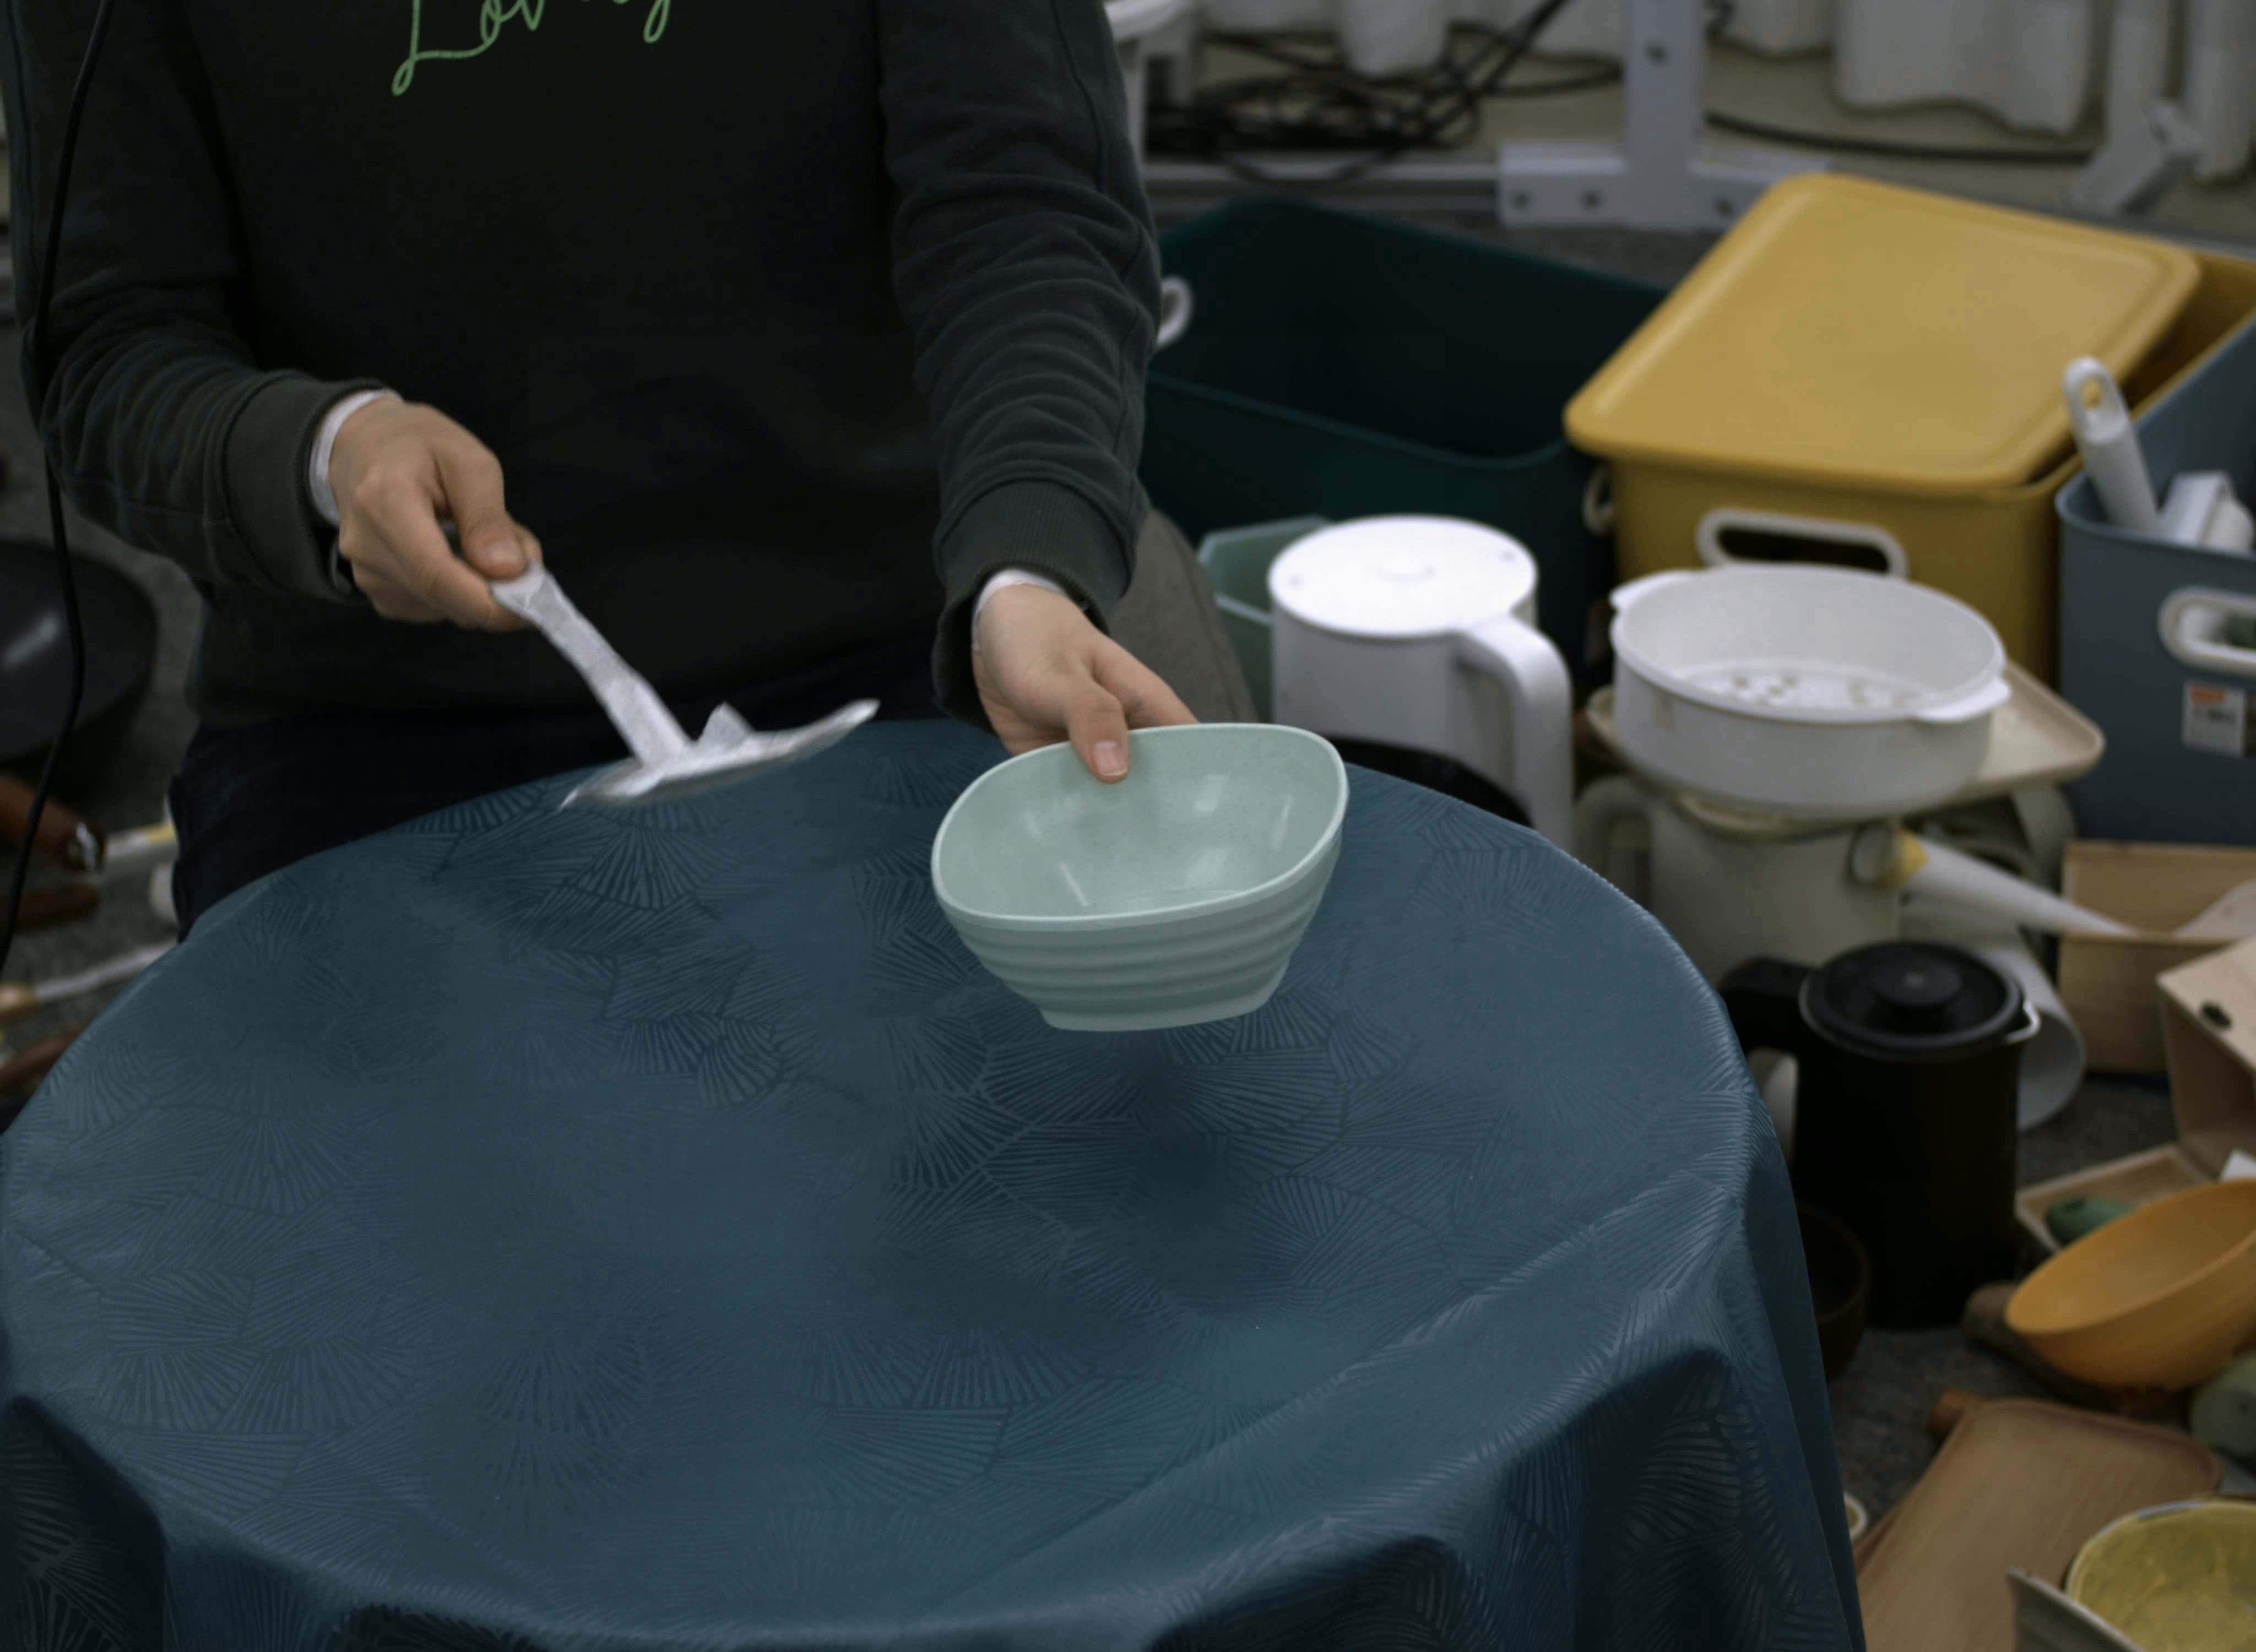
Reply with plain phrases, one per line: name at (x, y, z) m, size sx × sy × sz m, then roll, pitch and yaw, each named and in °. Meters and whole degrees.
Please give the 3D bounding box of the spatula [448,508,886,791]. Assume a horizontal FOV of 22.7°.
spatula at (-0.178, -0.069, 1.887) m, size 0.099 × 0.044 × 0.366 m, roll -18°, pitch 25°, yaw -17°

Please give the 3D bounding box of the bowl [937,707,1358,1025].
bowl at (0.010, 0.019, 1.867) m, size 0.150 × 0.058 × 0.154 m, roll -6°, pitch 29°, yaw 4°
